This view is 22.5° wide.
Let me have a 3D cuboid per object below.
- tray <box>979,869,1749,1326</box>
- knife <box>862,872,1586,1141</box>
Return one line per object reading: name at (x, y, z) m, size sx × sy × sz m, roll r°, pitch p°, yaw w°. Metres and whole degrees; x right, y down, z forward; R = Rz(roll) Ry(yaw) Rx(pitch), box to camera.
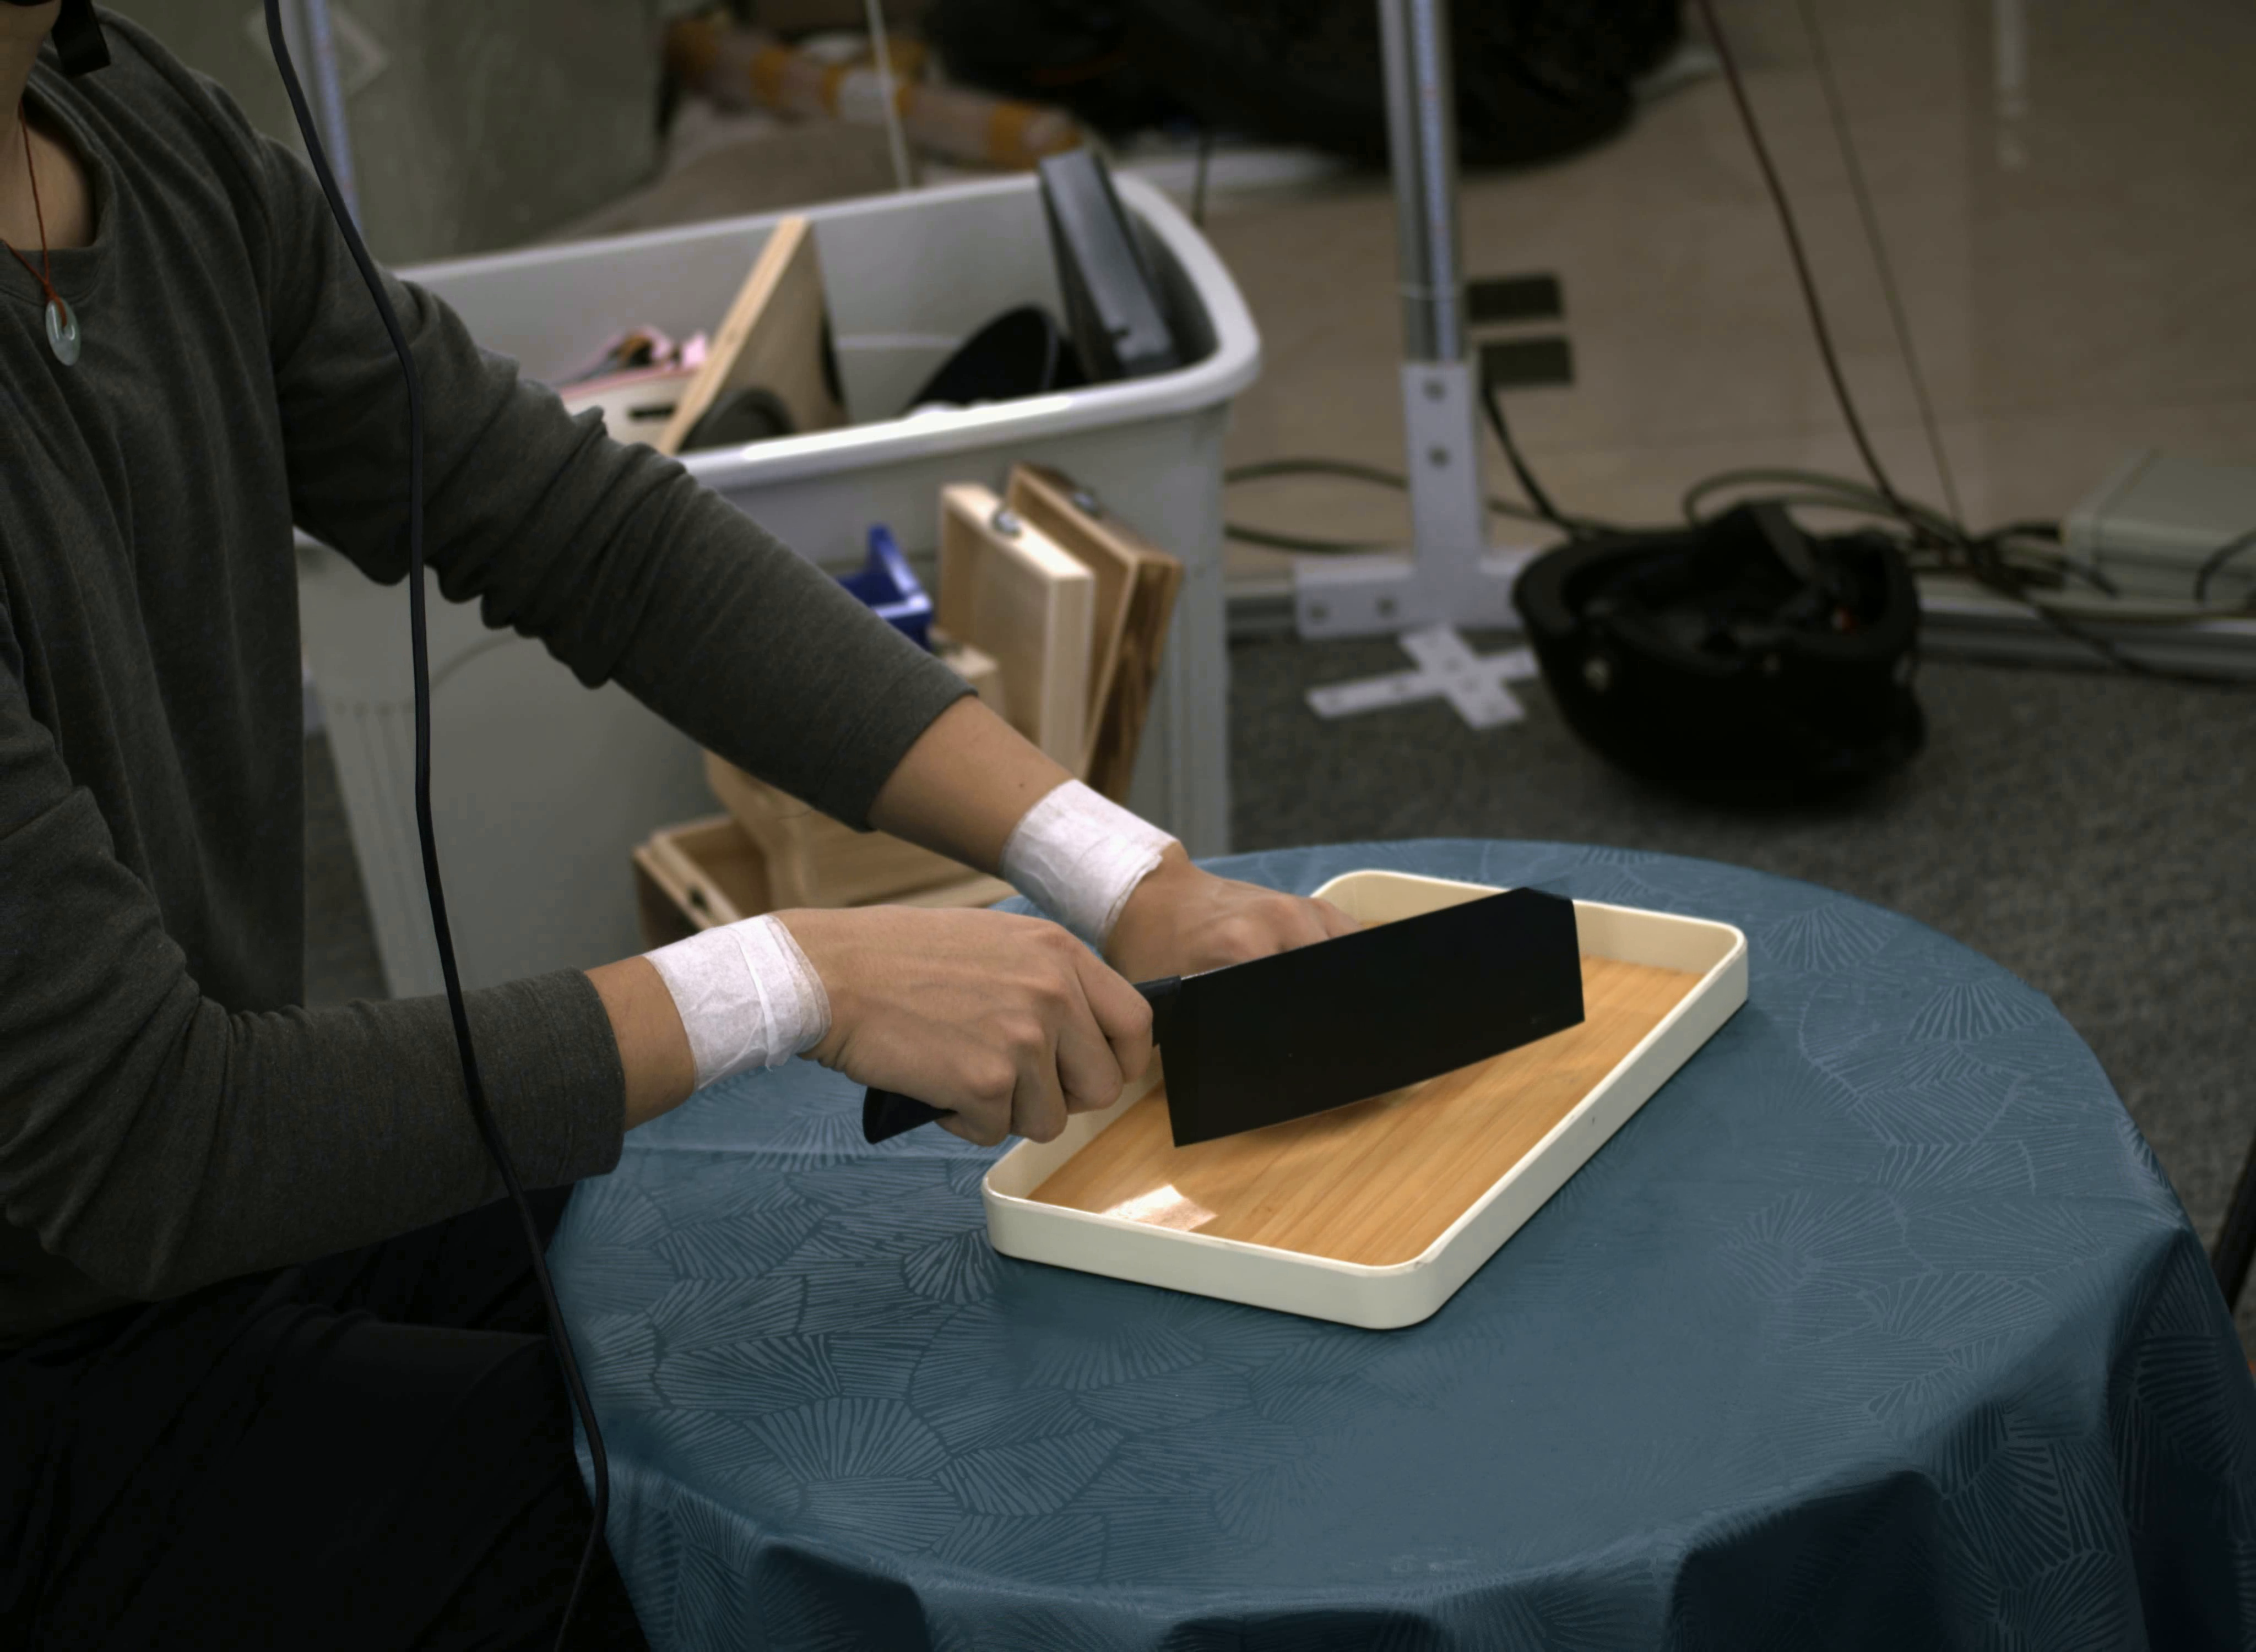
tray at (0.095, 0.099, 2.181) m, size 0.191 × 0.028 × 0.297 m, roll 9°, pitch 29°, yaw 31°
knife at (0.040, 0.078, 2.130) m, size 0.301 × 0.082 × 0.020 m, roll -10°, pitch 17°, yaw -23°
